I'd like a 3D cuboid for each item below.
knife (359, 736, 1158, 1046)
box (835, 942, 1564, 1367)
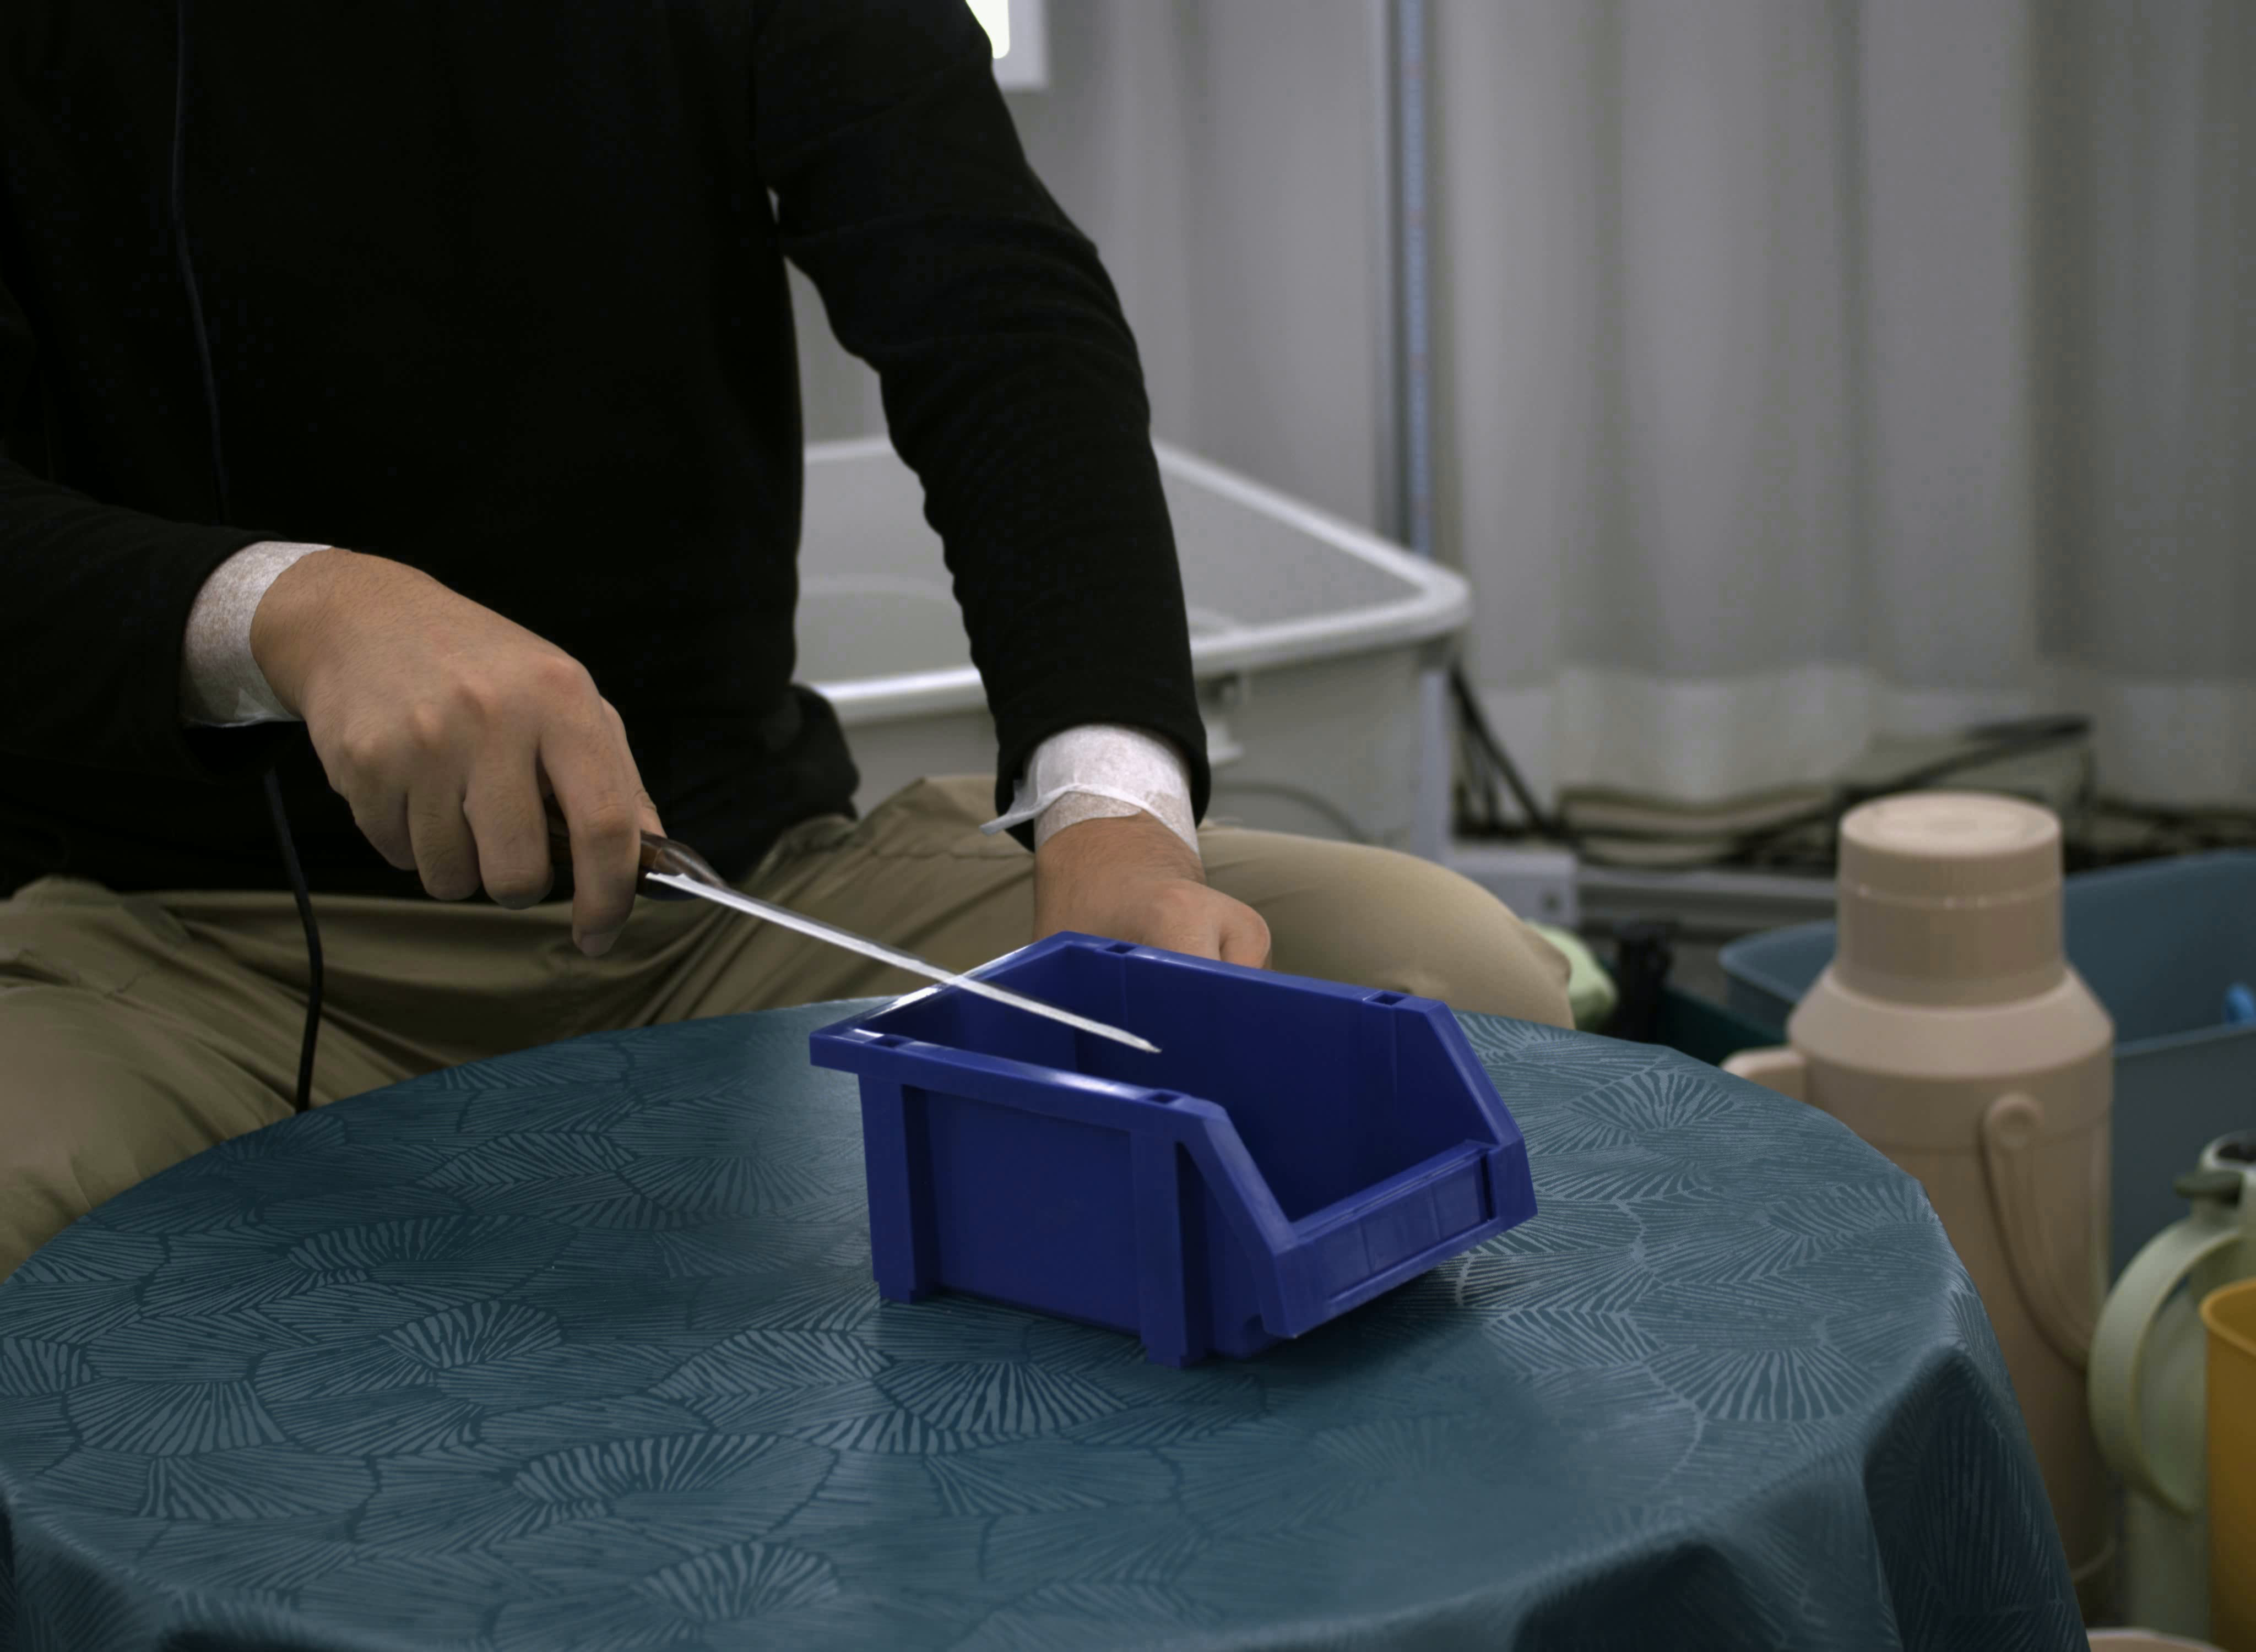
[{"bbox_3d":[-0.116,0.022,1.662,0.290,0.020,0.050,19,4,24],"label":"knife"},{"bbox_3d":[0.022,0.097,1.617,0.180,0.081,0.124,7,17,41],"label":"box"}]
